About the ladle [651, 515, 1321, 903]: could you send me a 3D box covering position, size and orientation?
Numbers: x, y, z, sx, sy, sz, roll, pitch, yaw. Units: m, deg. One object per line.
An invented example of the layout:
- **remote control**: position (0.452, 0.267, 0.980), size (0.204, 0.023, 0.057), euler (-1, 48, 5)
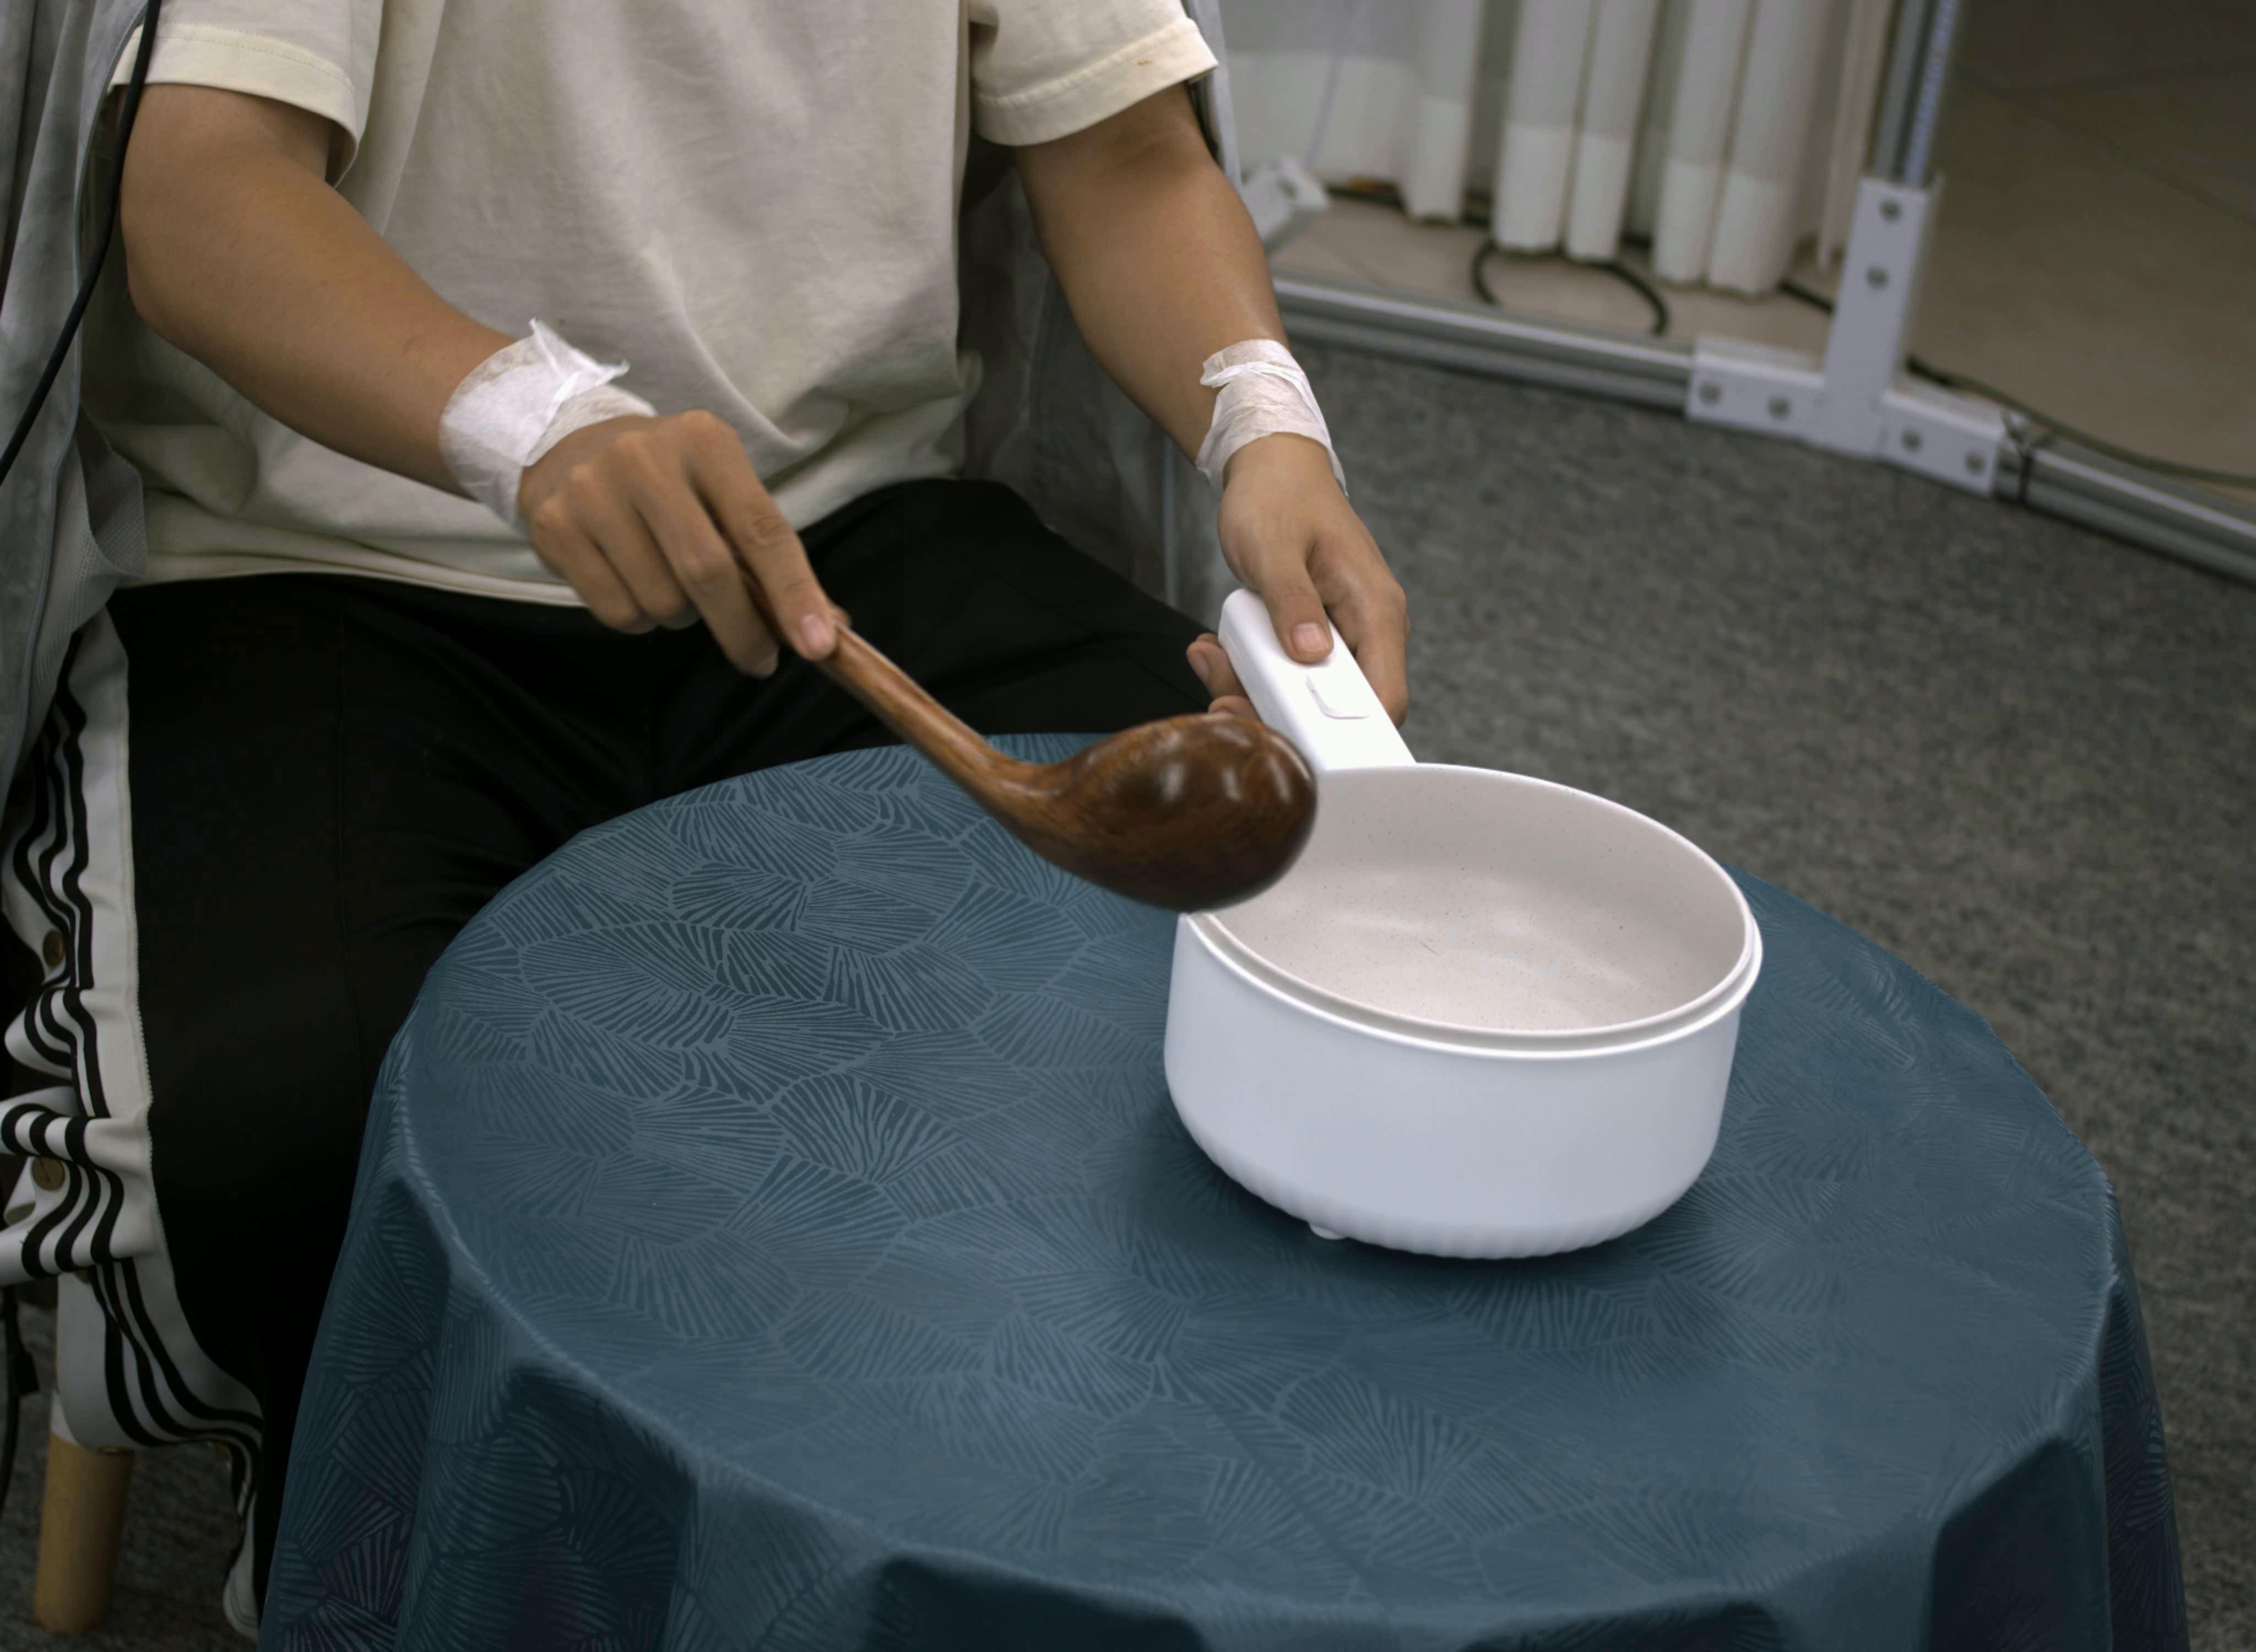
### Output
- **ladle**: position (-0.047, -0.056, 1.717), size (0.076, 0.081, 0.276), euler (-39, 49, -17)

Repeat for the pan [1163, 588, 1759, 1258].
- **pan**: position (0.093, 0.032, 1.897), size (0.200, 0.102, 0.358), euler (-1, 27, -14)
